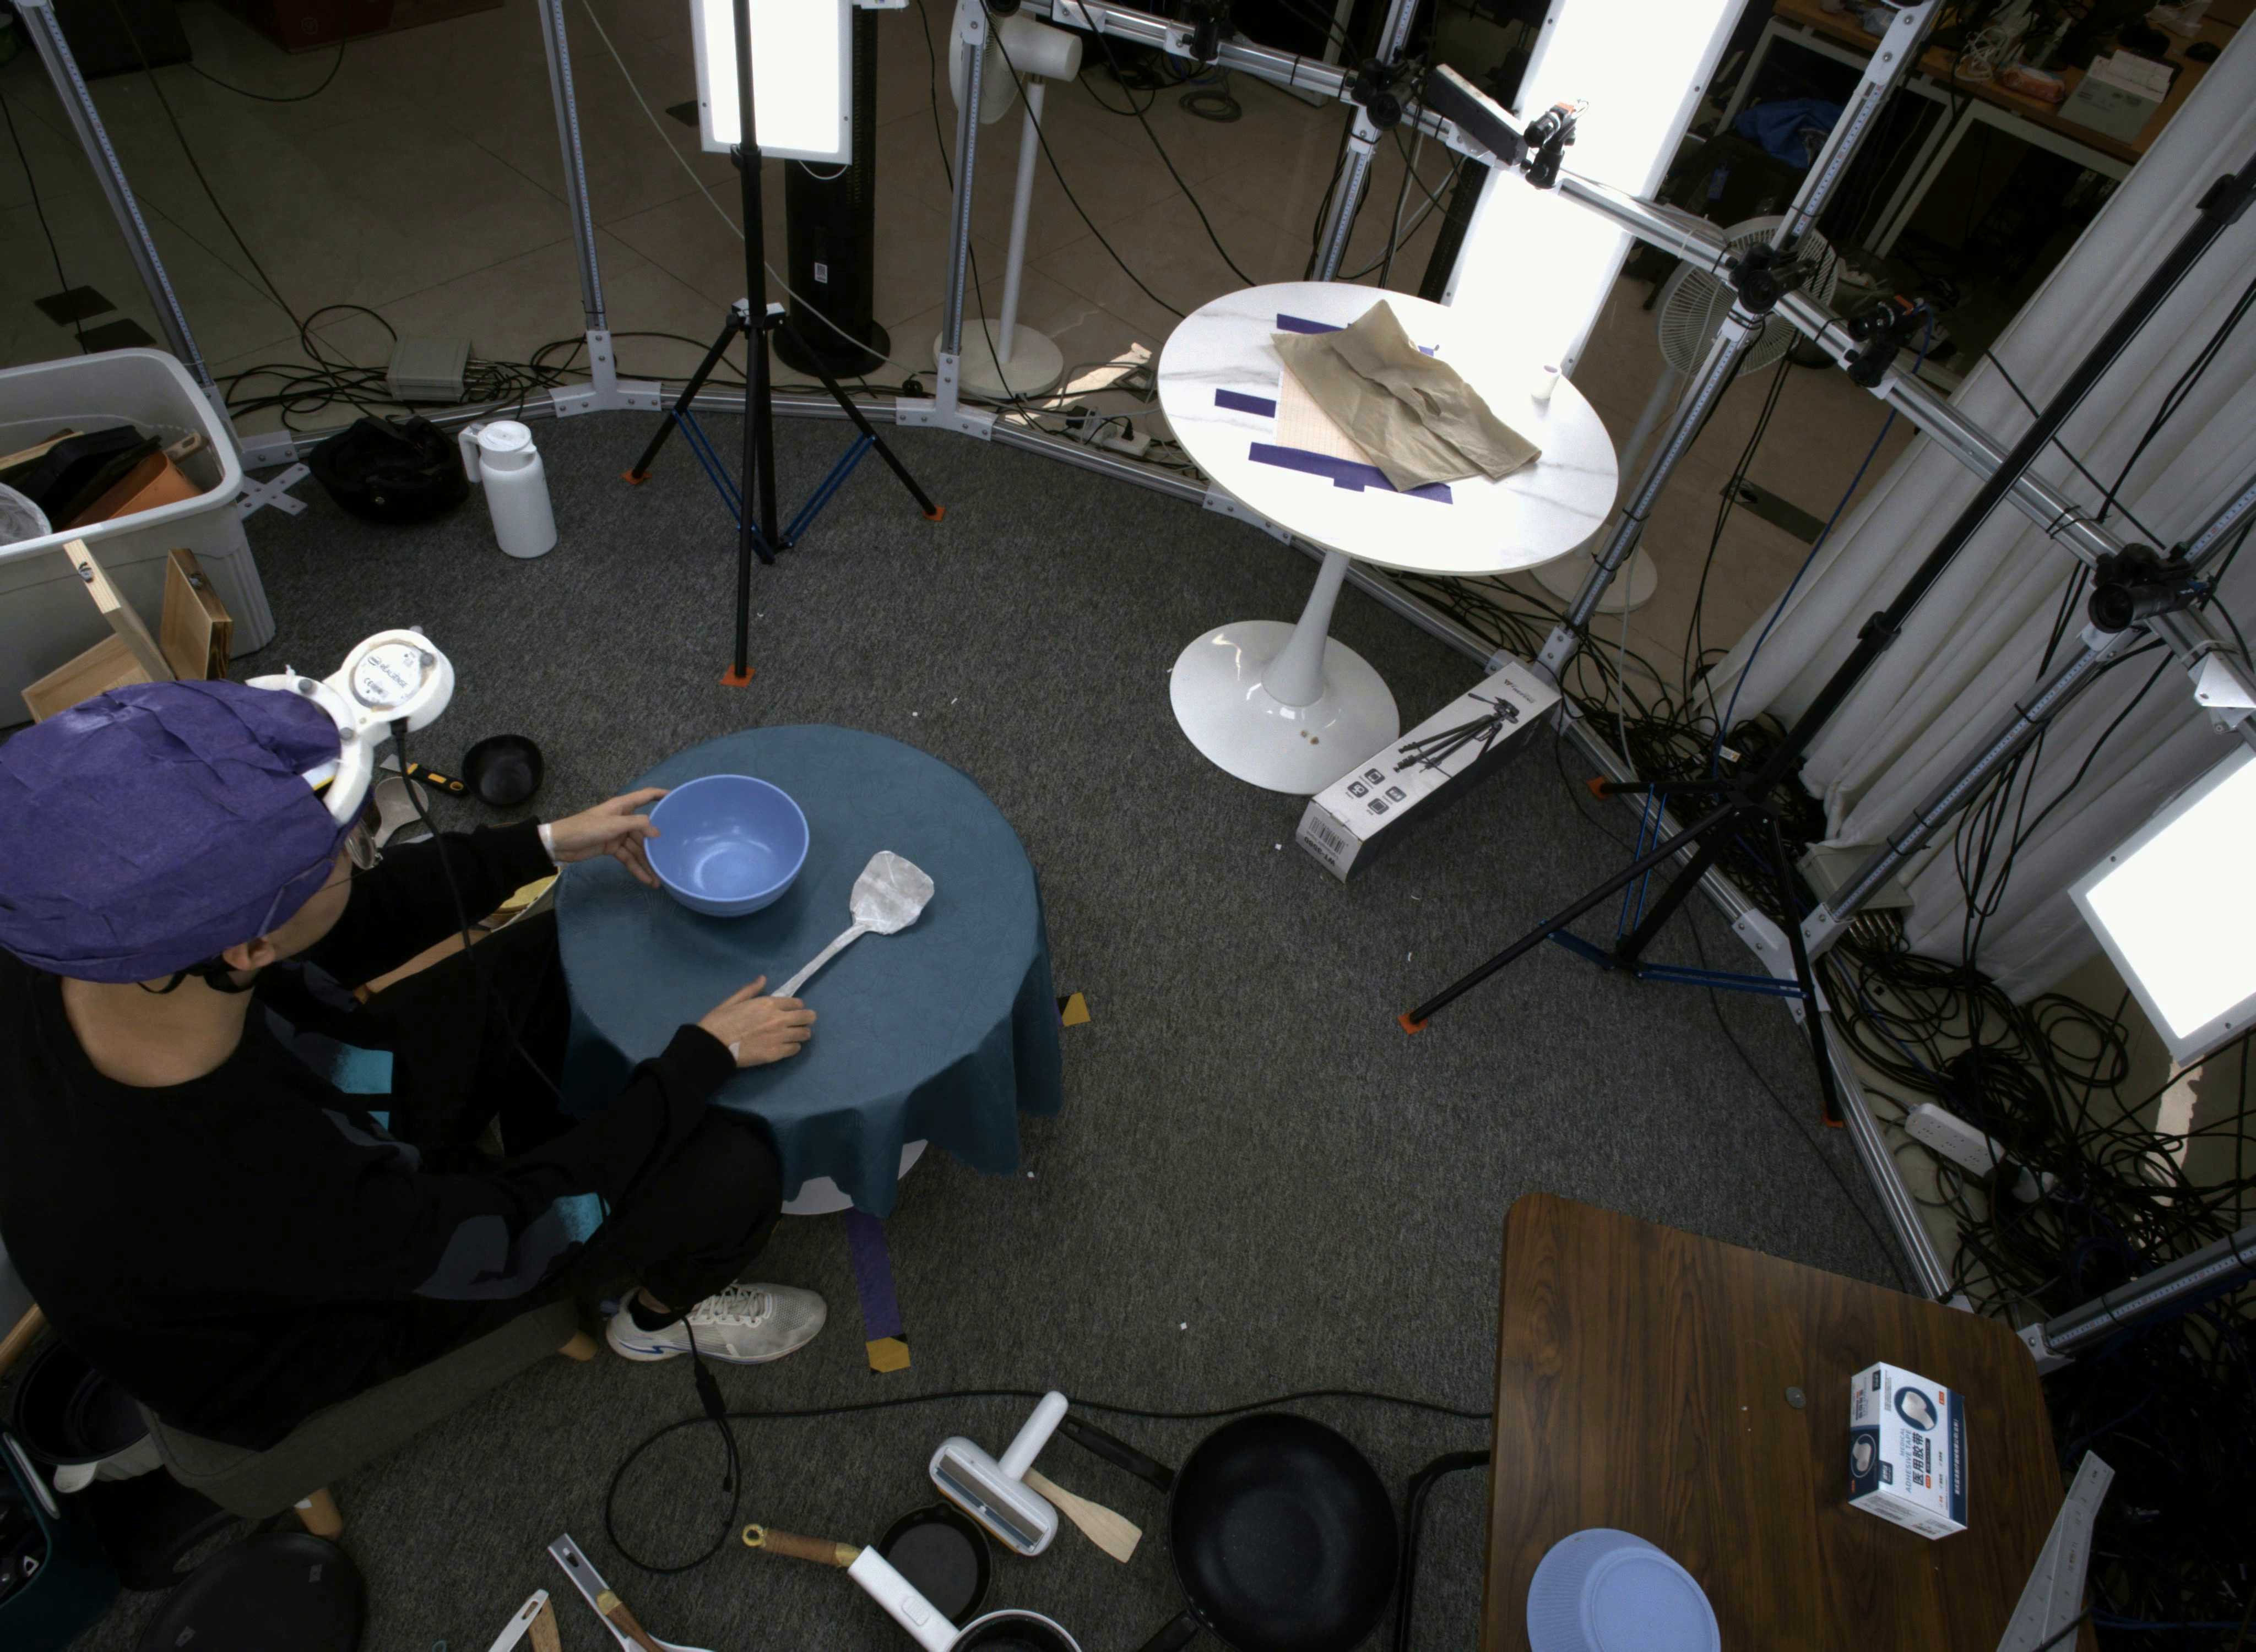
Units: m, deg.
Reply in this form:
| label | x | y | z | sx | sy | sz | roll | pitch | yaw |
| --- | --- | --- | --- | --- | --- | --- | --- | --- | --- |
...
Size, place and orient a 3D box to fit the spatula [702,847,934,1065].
| label | x | y | z | sx | sy | sz | roll | pitch | yaw |
| --- | --- | --- | --- | --- | --- | --- | --- | --- | --- |
| spatula | -0.384 | 0.162 | 1.594 | 0.097 | 0.045 | 0.364 | 36 | 53 | 12 |

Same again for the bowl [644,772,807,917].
| label | x | y | z | sx | sy | sz | roll | pitch | yaw |
| --- | --- | --- | --- | --- | --- | --- | --- | --- | --- |
| bowl | -0.502 | 0.038 | 1.618 | 0.196 | 0.097 | 0.193 | 10 | 51 | -10 |
